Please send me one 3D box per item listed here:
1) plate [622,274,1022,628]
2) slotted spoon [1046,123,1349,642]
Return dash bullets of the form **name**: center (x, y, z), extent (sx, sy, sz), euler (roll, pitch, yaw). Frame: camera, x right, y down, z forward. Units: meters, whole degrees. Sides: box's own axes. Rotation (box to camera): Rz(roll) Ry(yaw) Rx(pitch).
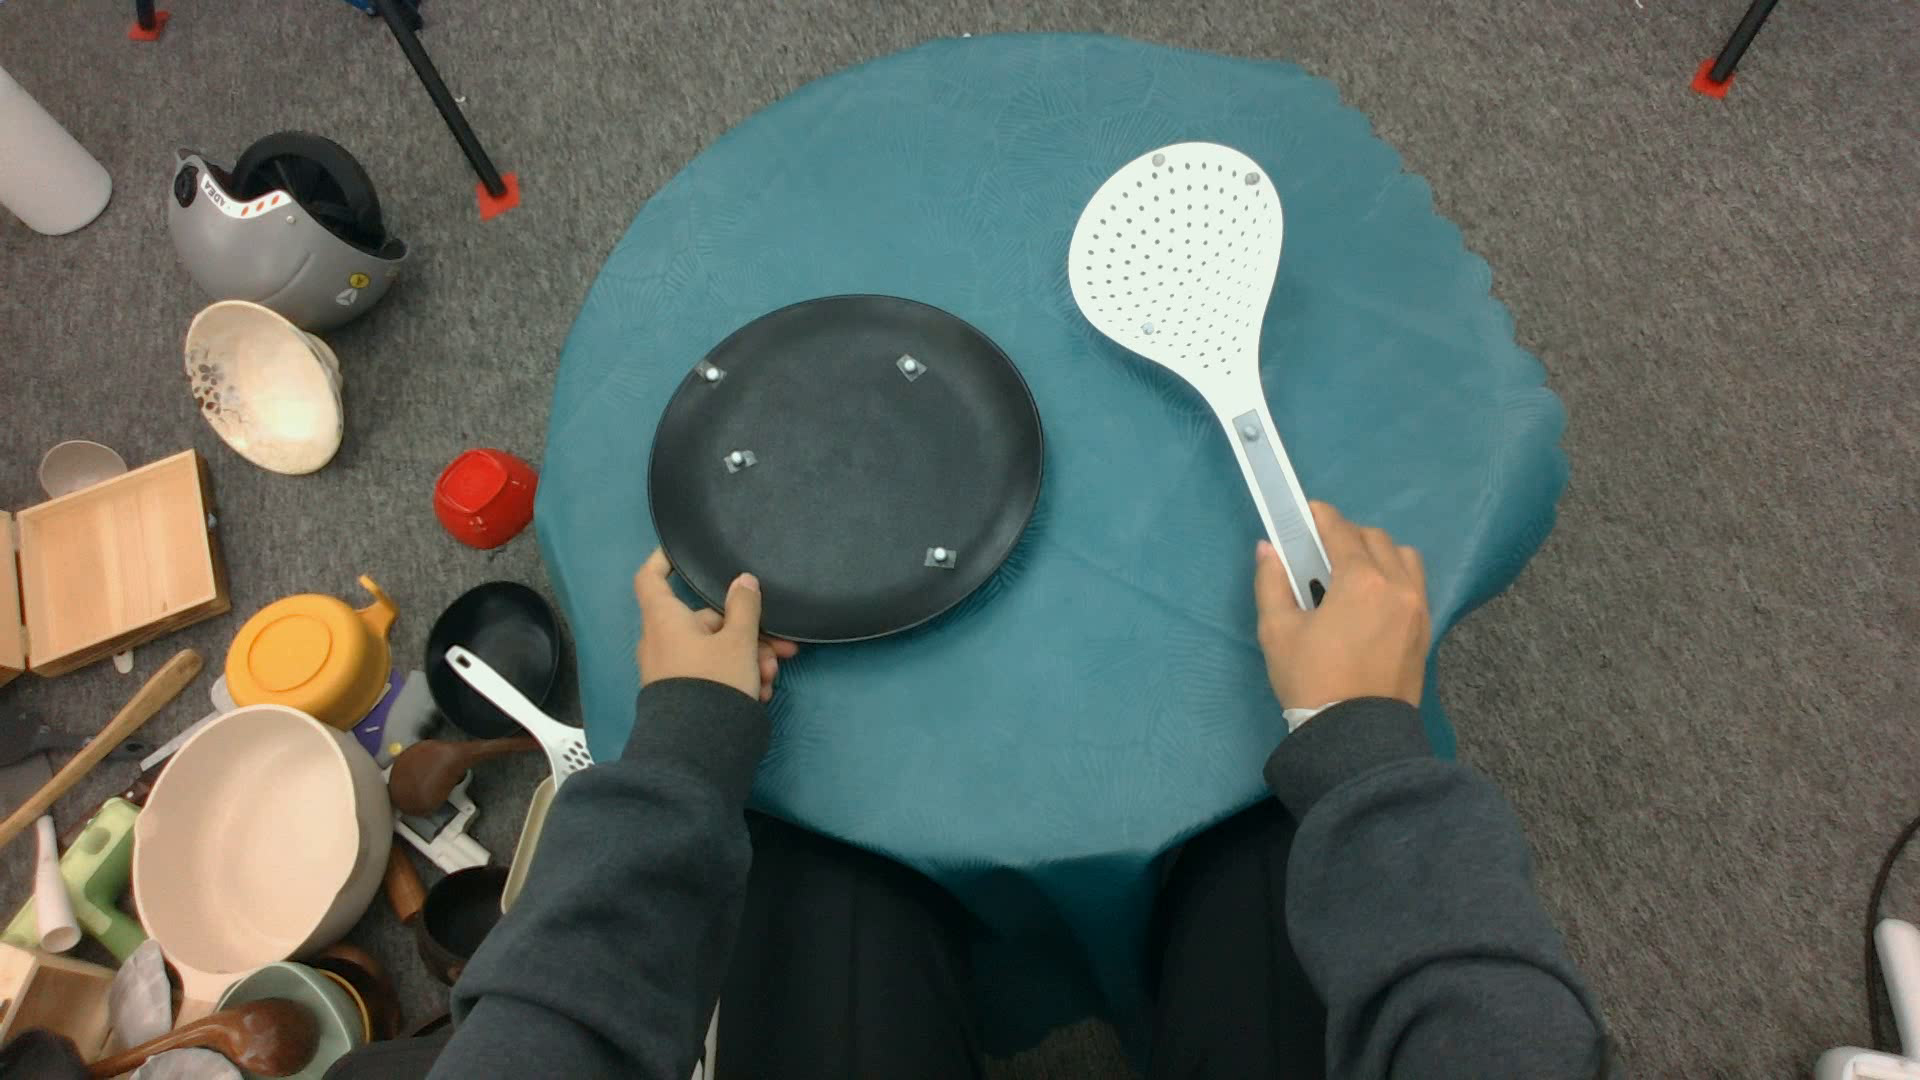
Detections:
- **plate**: center (-0.083, -0.057, 0.839), extent (0.244, 0.023, 0.245), euler (-1, 64, 3)
- **slotted spoon**: center (0.152, -0.101, 0.817), extent (0.136, 0.045, 0.351), euler (-25, 62, 14)
